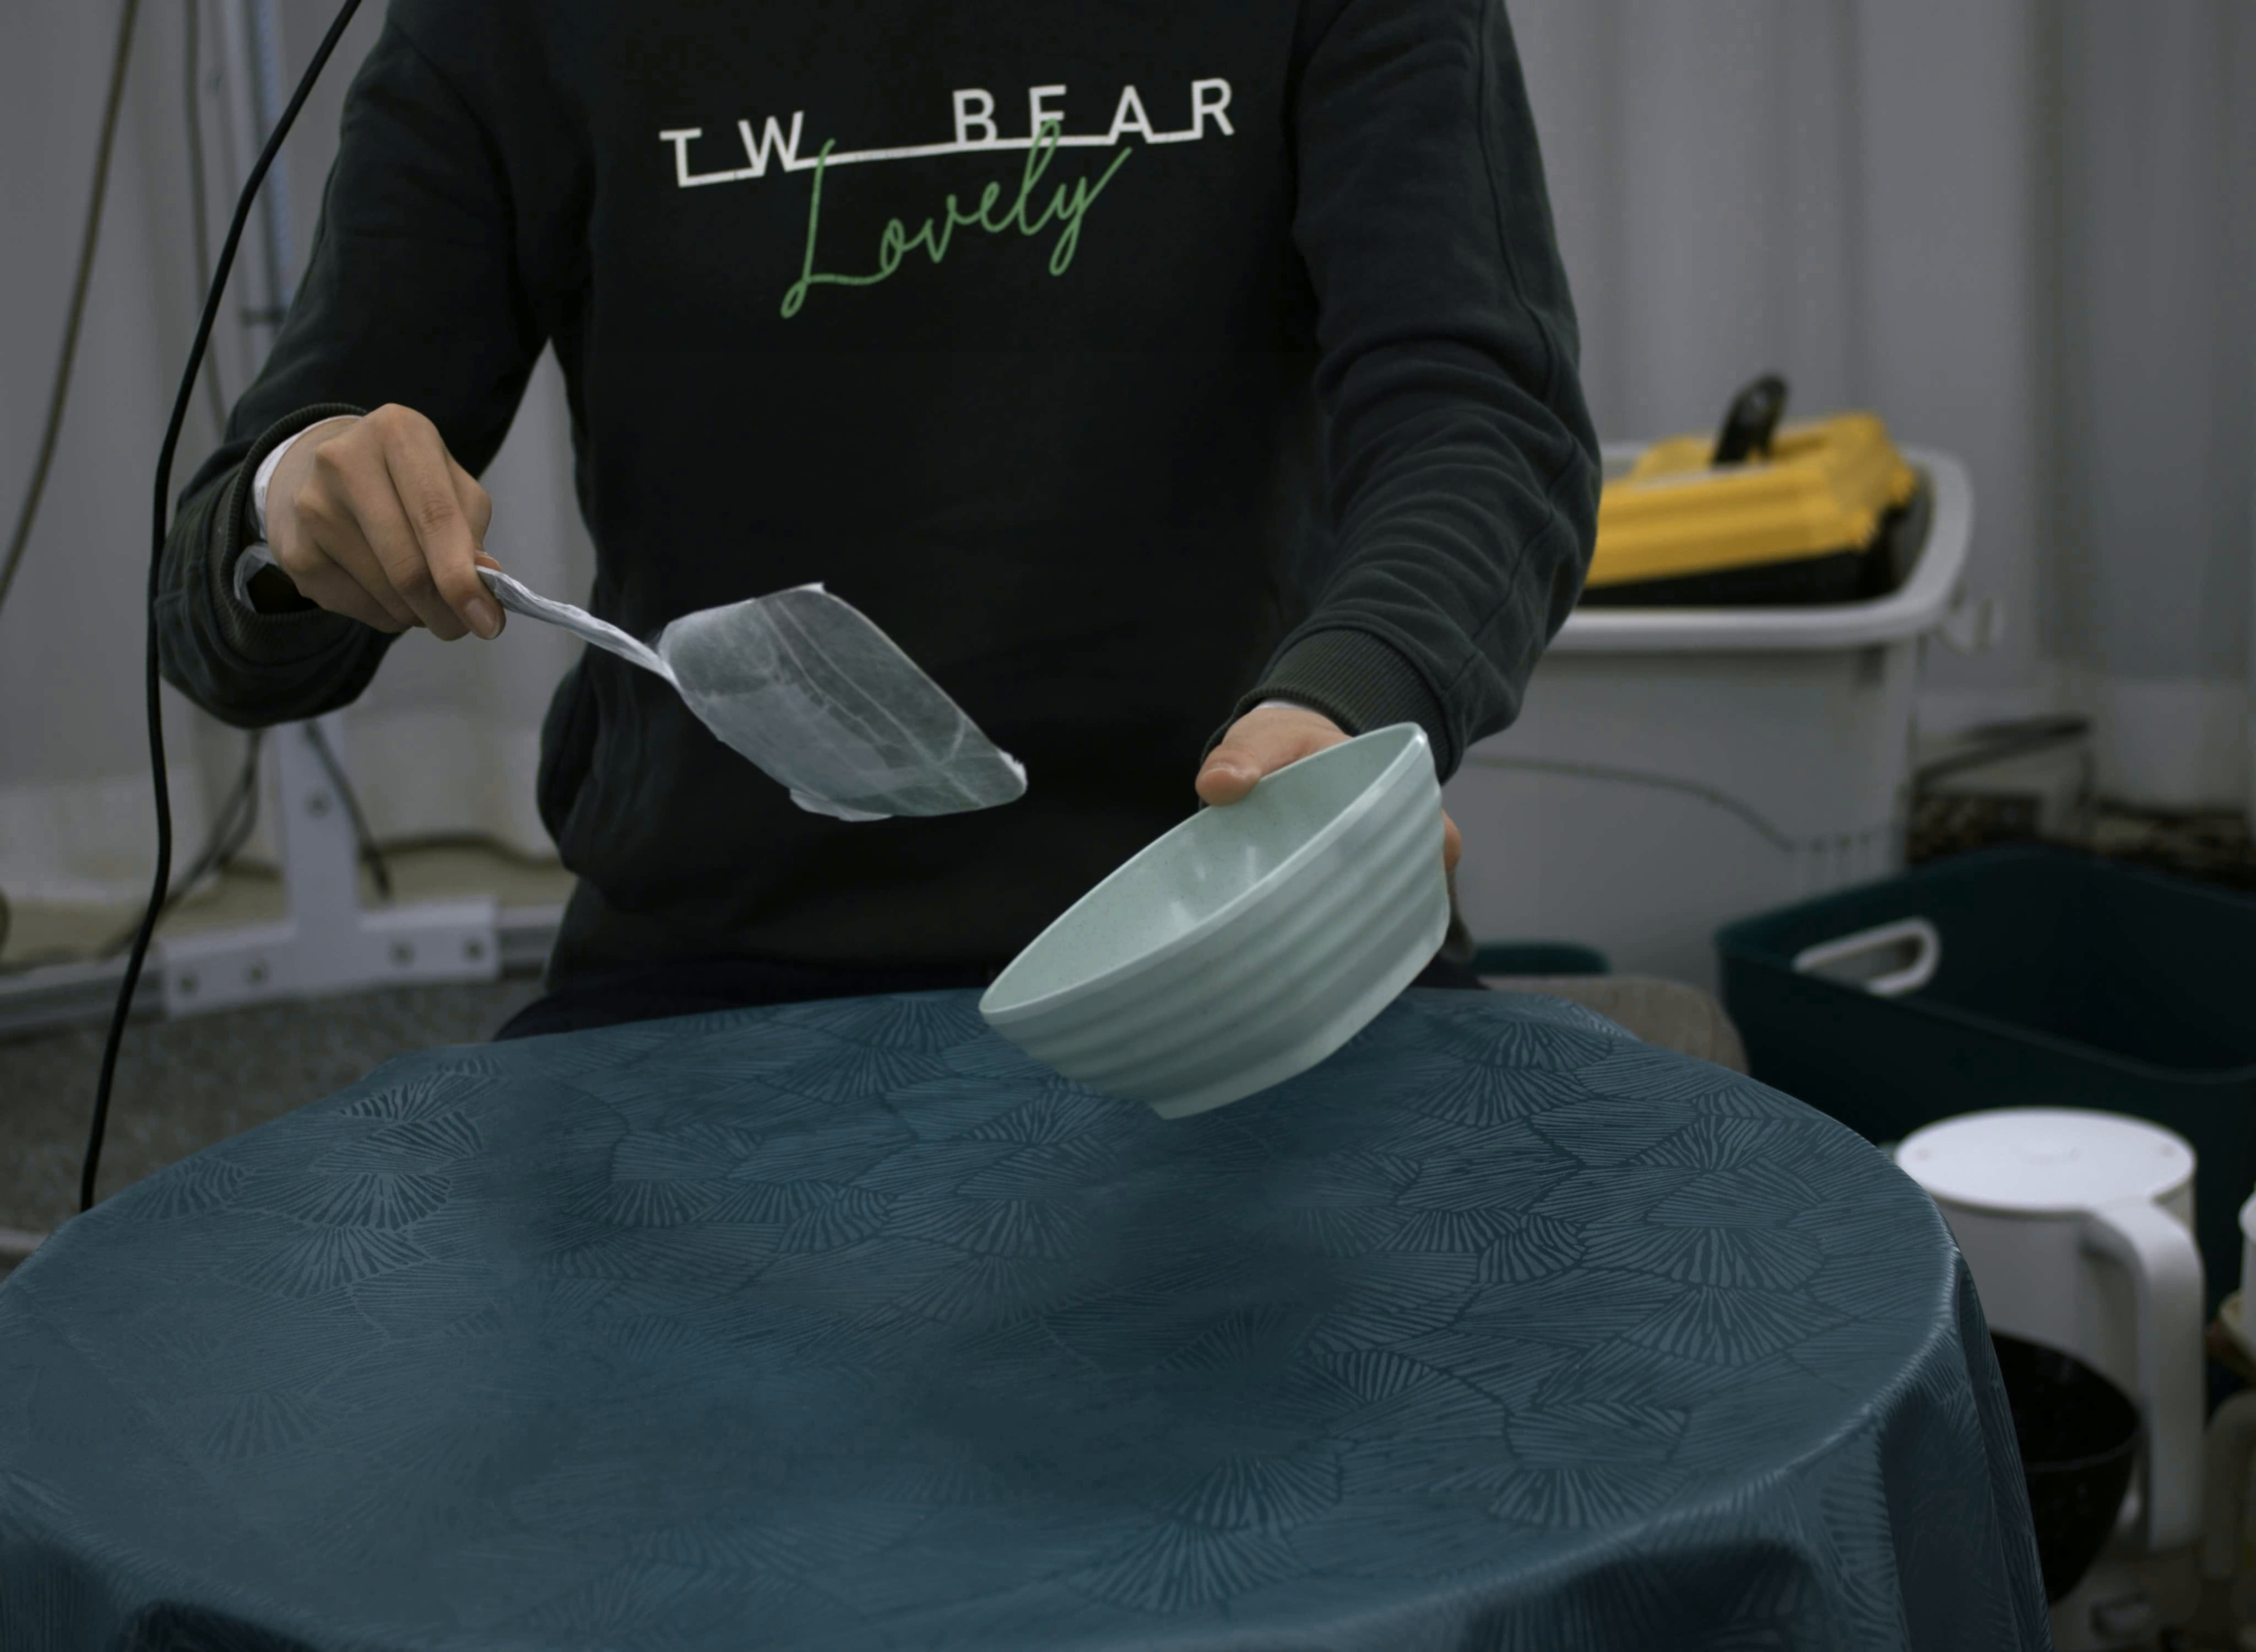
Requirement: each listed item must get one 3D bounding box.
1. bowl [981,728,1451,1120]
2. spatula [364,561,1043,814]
[{"bbox_3d":[0.036,0.036,1.572,0.151,0.058,0.152,-30,12,7],"label":"bowl"},{"bbox_3d":[-0.150,-0.058,1.664,0.045,0.097,0.367,-52,31,-11],"label":"spatula"}]
